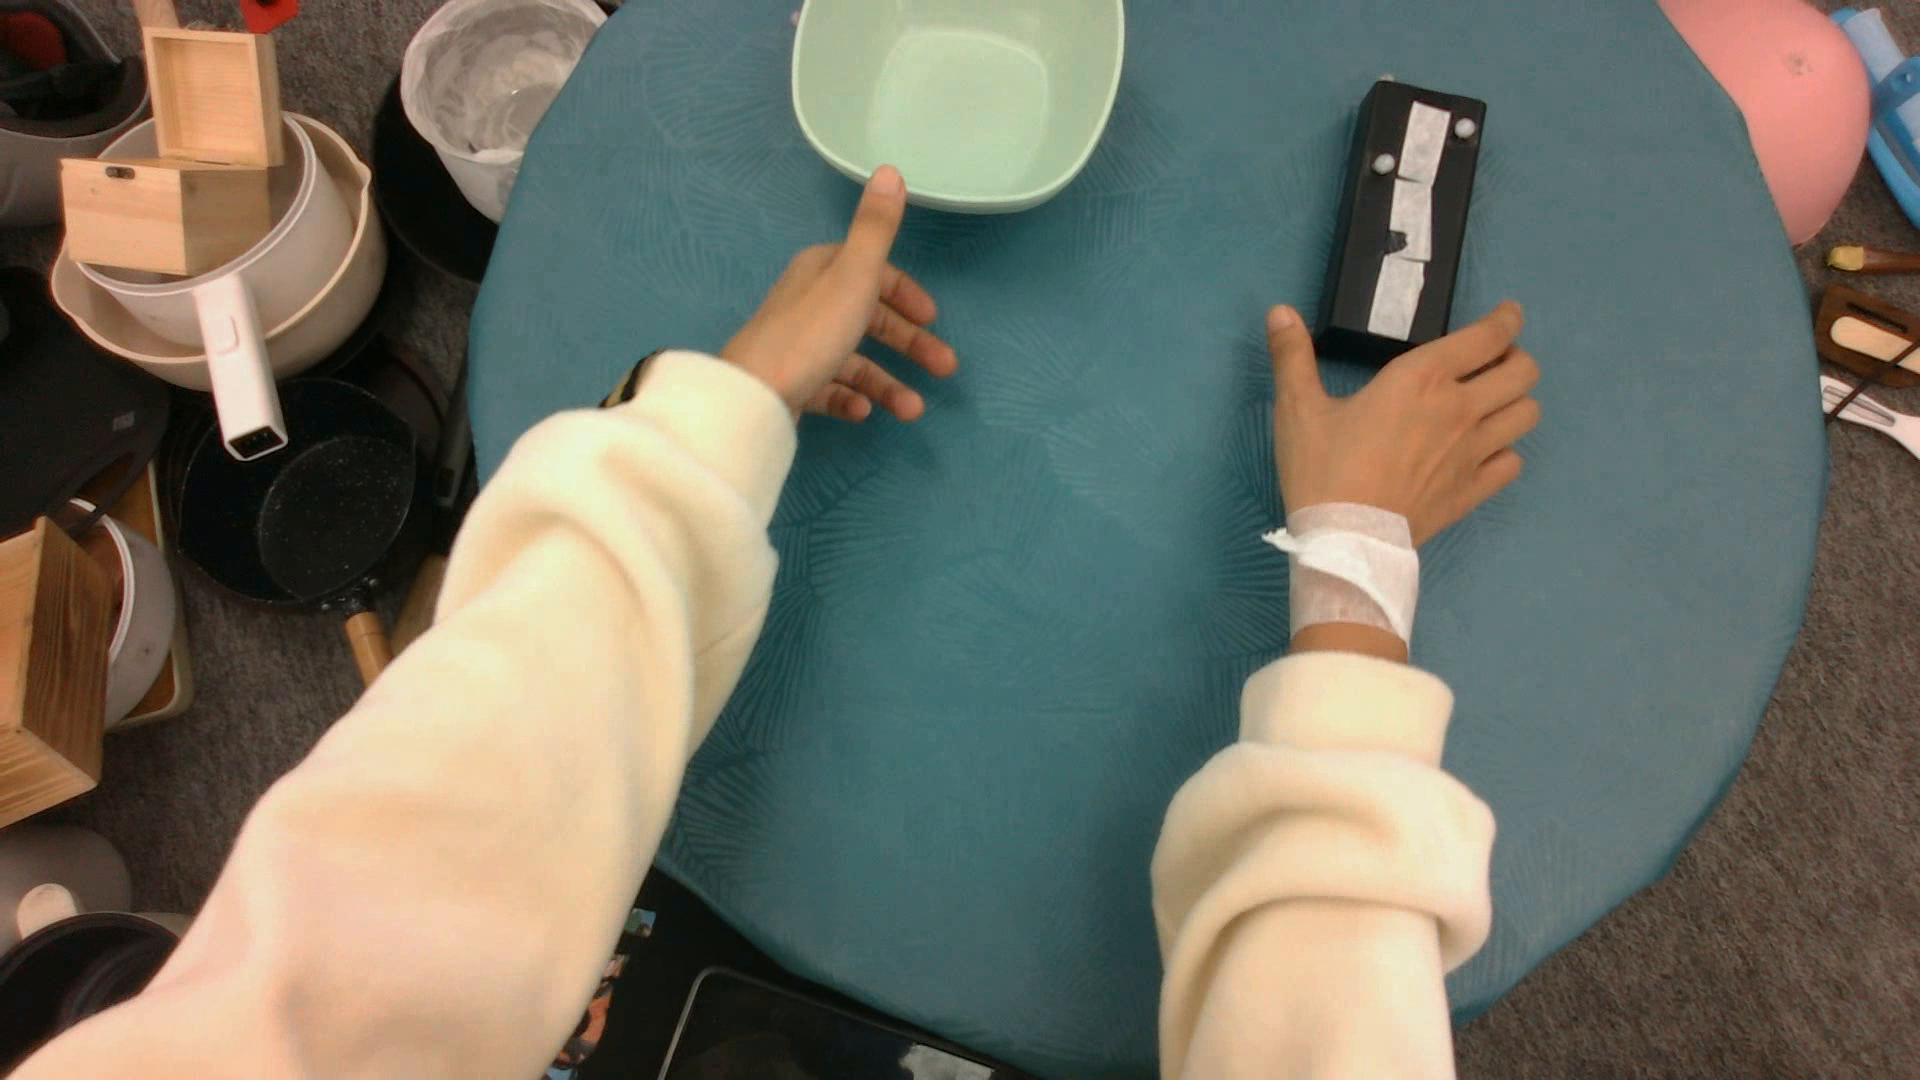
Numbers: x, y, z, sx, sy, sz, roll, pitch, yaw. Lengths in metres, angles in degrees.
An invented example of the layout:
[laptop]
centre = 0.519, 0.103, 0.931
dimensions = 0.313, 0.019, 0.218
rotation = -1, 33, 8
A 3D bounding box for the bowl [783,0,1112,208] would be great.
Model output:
[bowl]
centre = -0.004, -0.204, 0.616
dimensions = 0.151, 0.058, 0.152
rotation = -1, 75, 2

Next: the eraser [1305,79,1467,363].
[eraser]
centre = 0.191, -0.144, 0.618
dimensions = 0.053, 0.030, 0.126
rotation = 11, 79, 4
